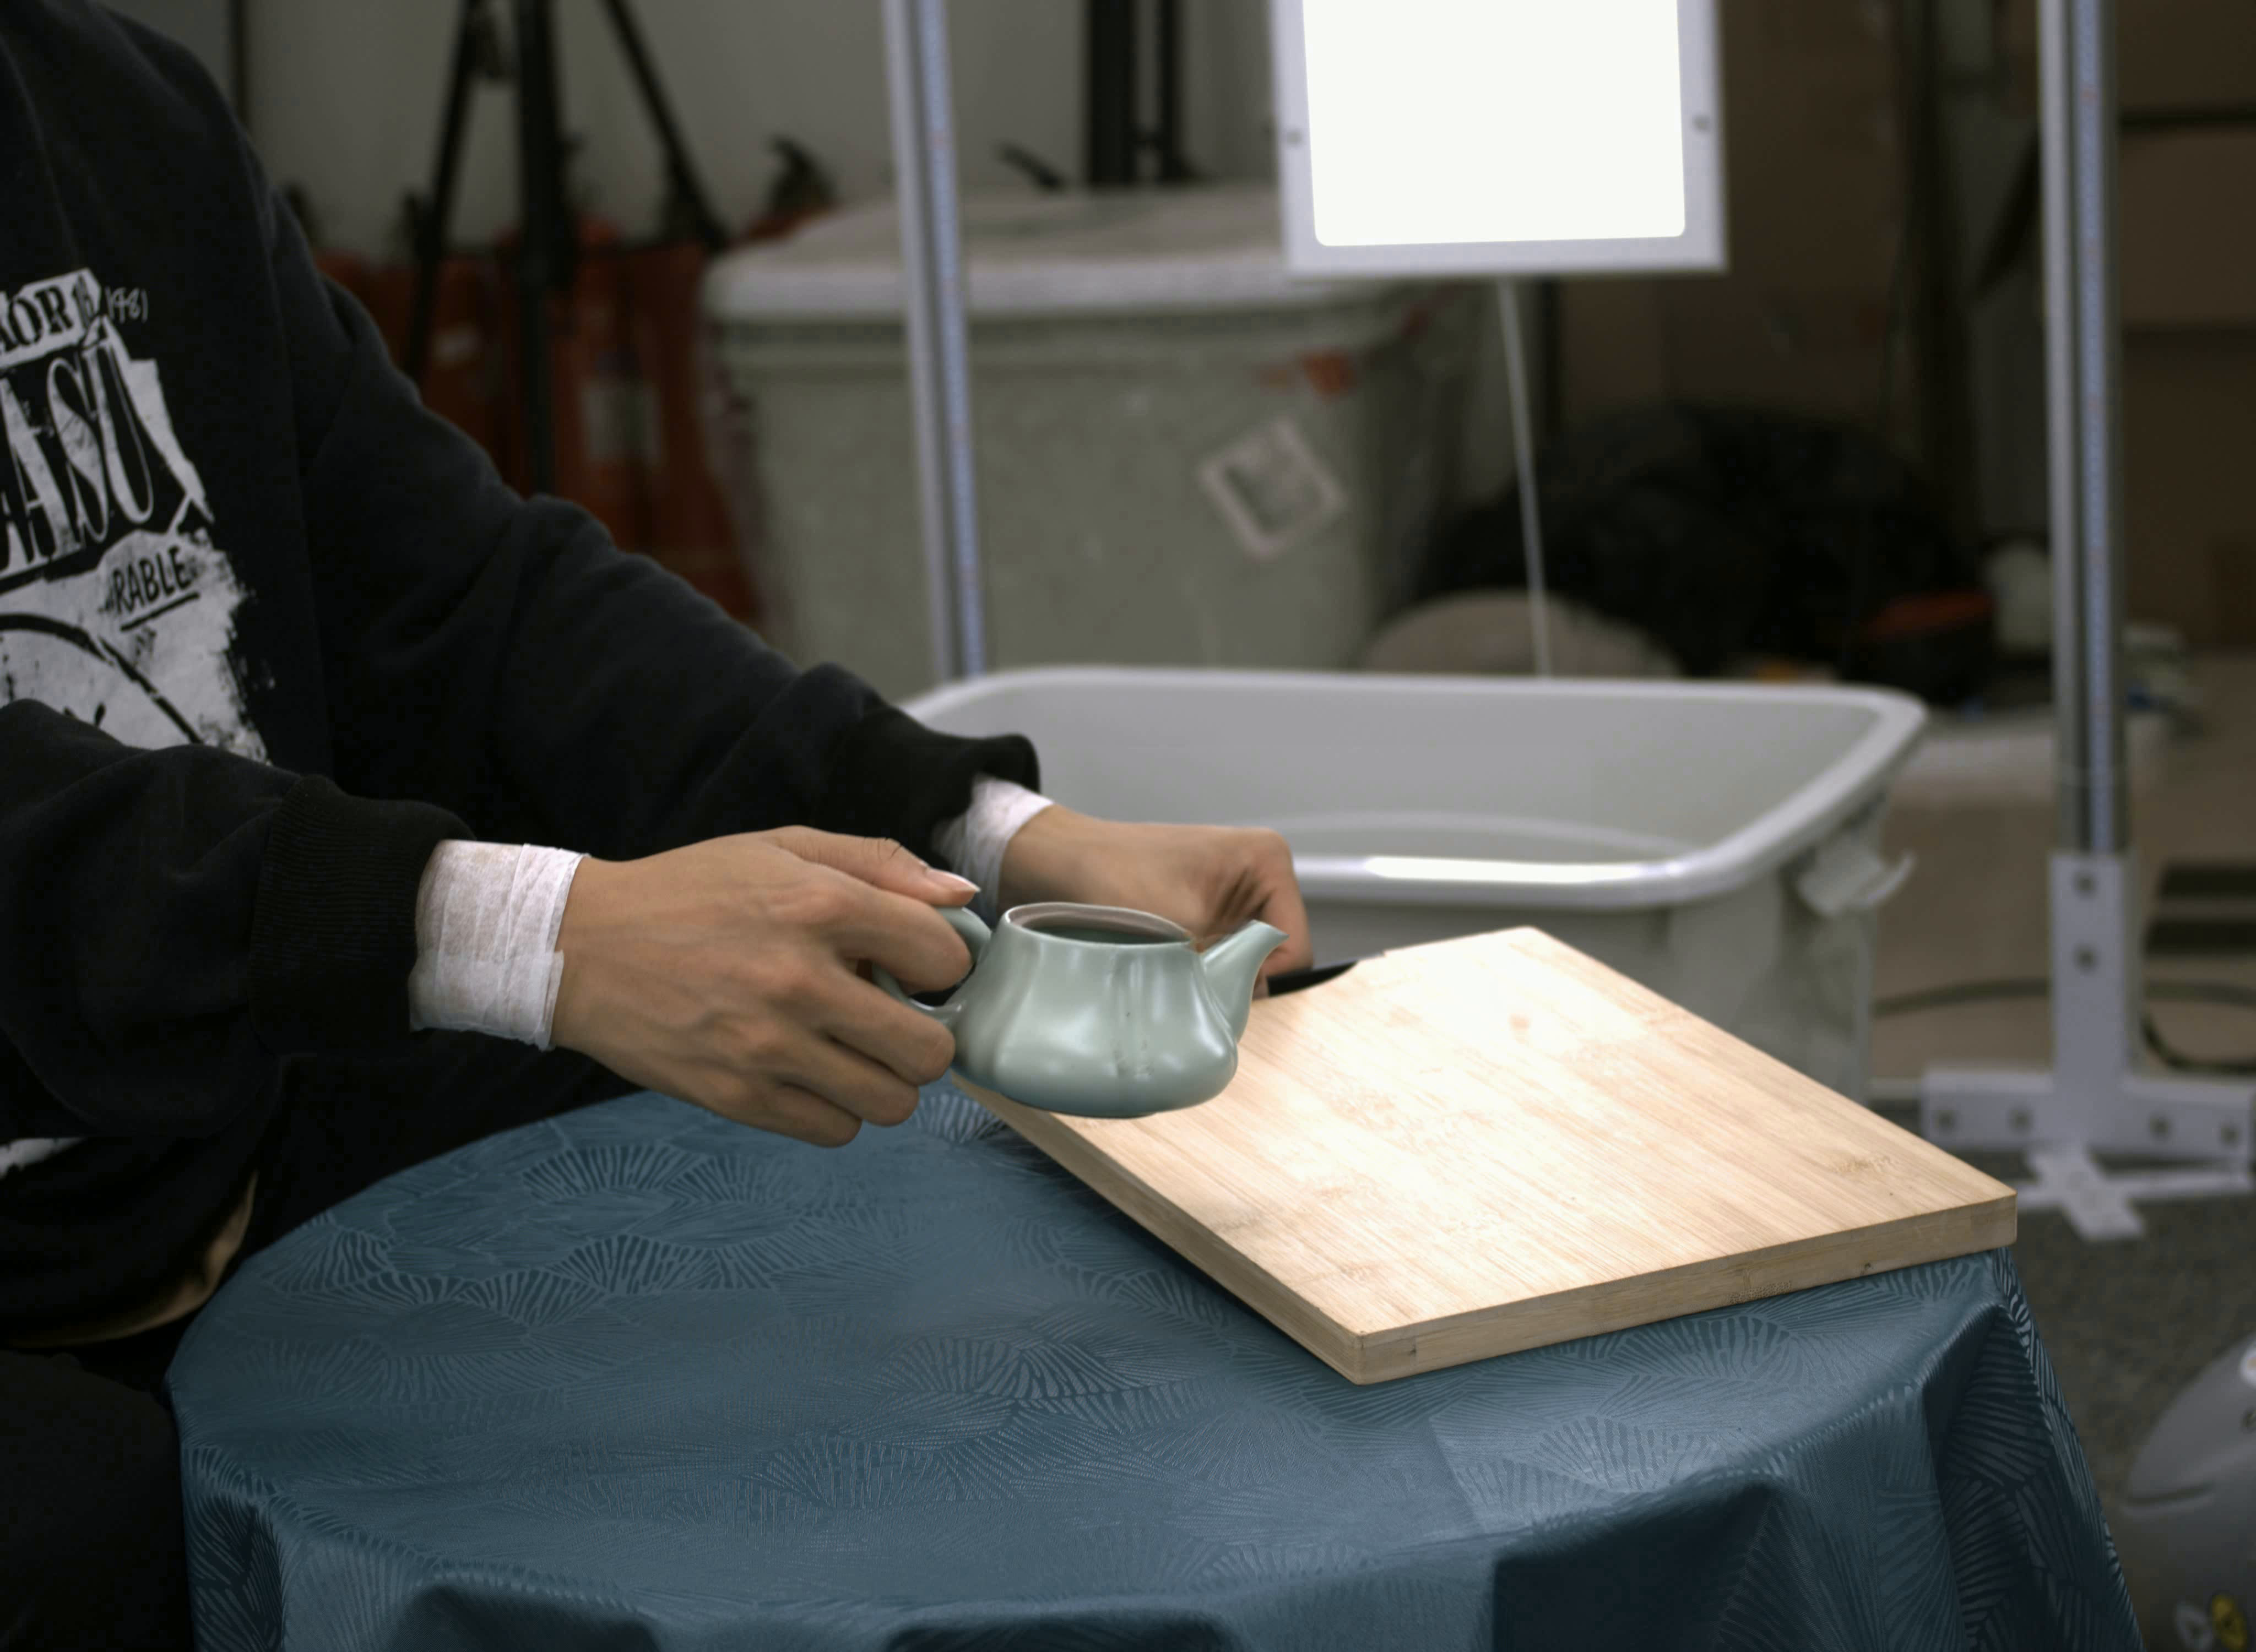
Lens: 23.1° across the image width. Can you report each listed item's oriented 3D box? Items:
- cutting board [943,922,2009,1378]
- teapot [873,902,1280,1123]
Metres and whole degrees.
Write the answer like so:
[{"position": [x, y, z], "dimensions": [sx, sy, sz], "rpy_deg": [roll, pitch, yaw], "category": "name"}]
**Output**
[{"position": [0.110, 0.105, 1.881], "dimensions": [0.246, 0.024, 0.354], "rpy_deg": [-11, 18, -22], "category": "cutting board"}, {"position": [-0.017, 0.057, 1.730], "dimensions": [0.134, 0.062, 0.097], "rpy_deg": [3, 13, -21], "category": "teapot"}]
